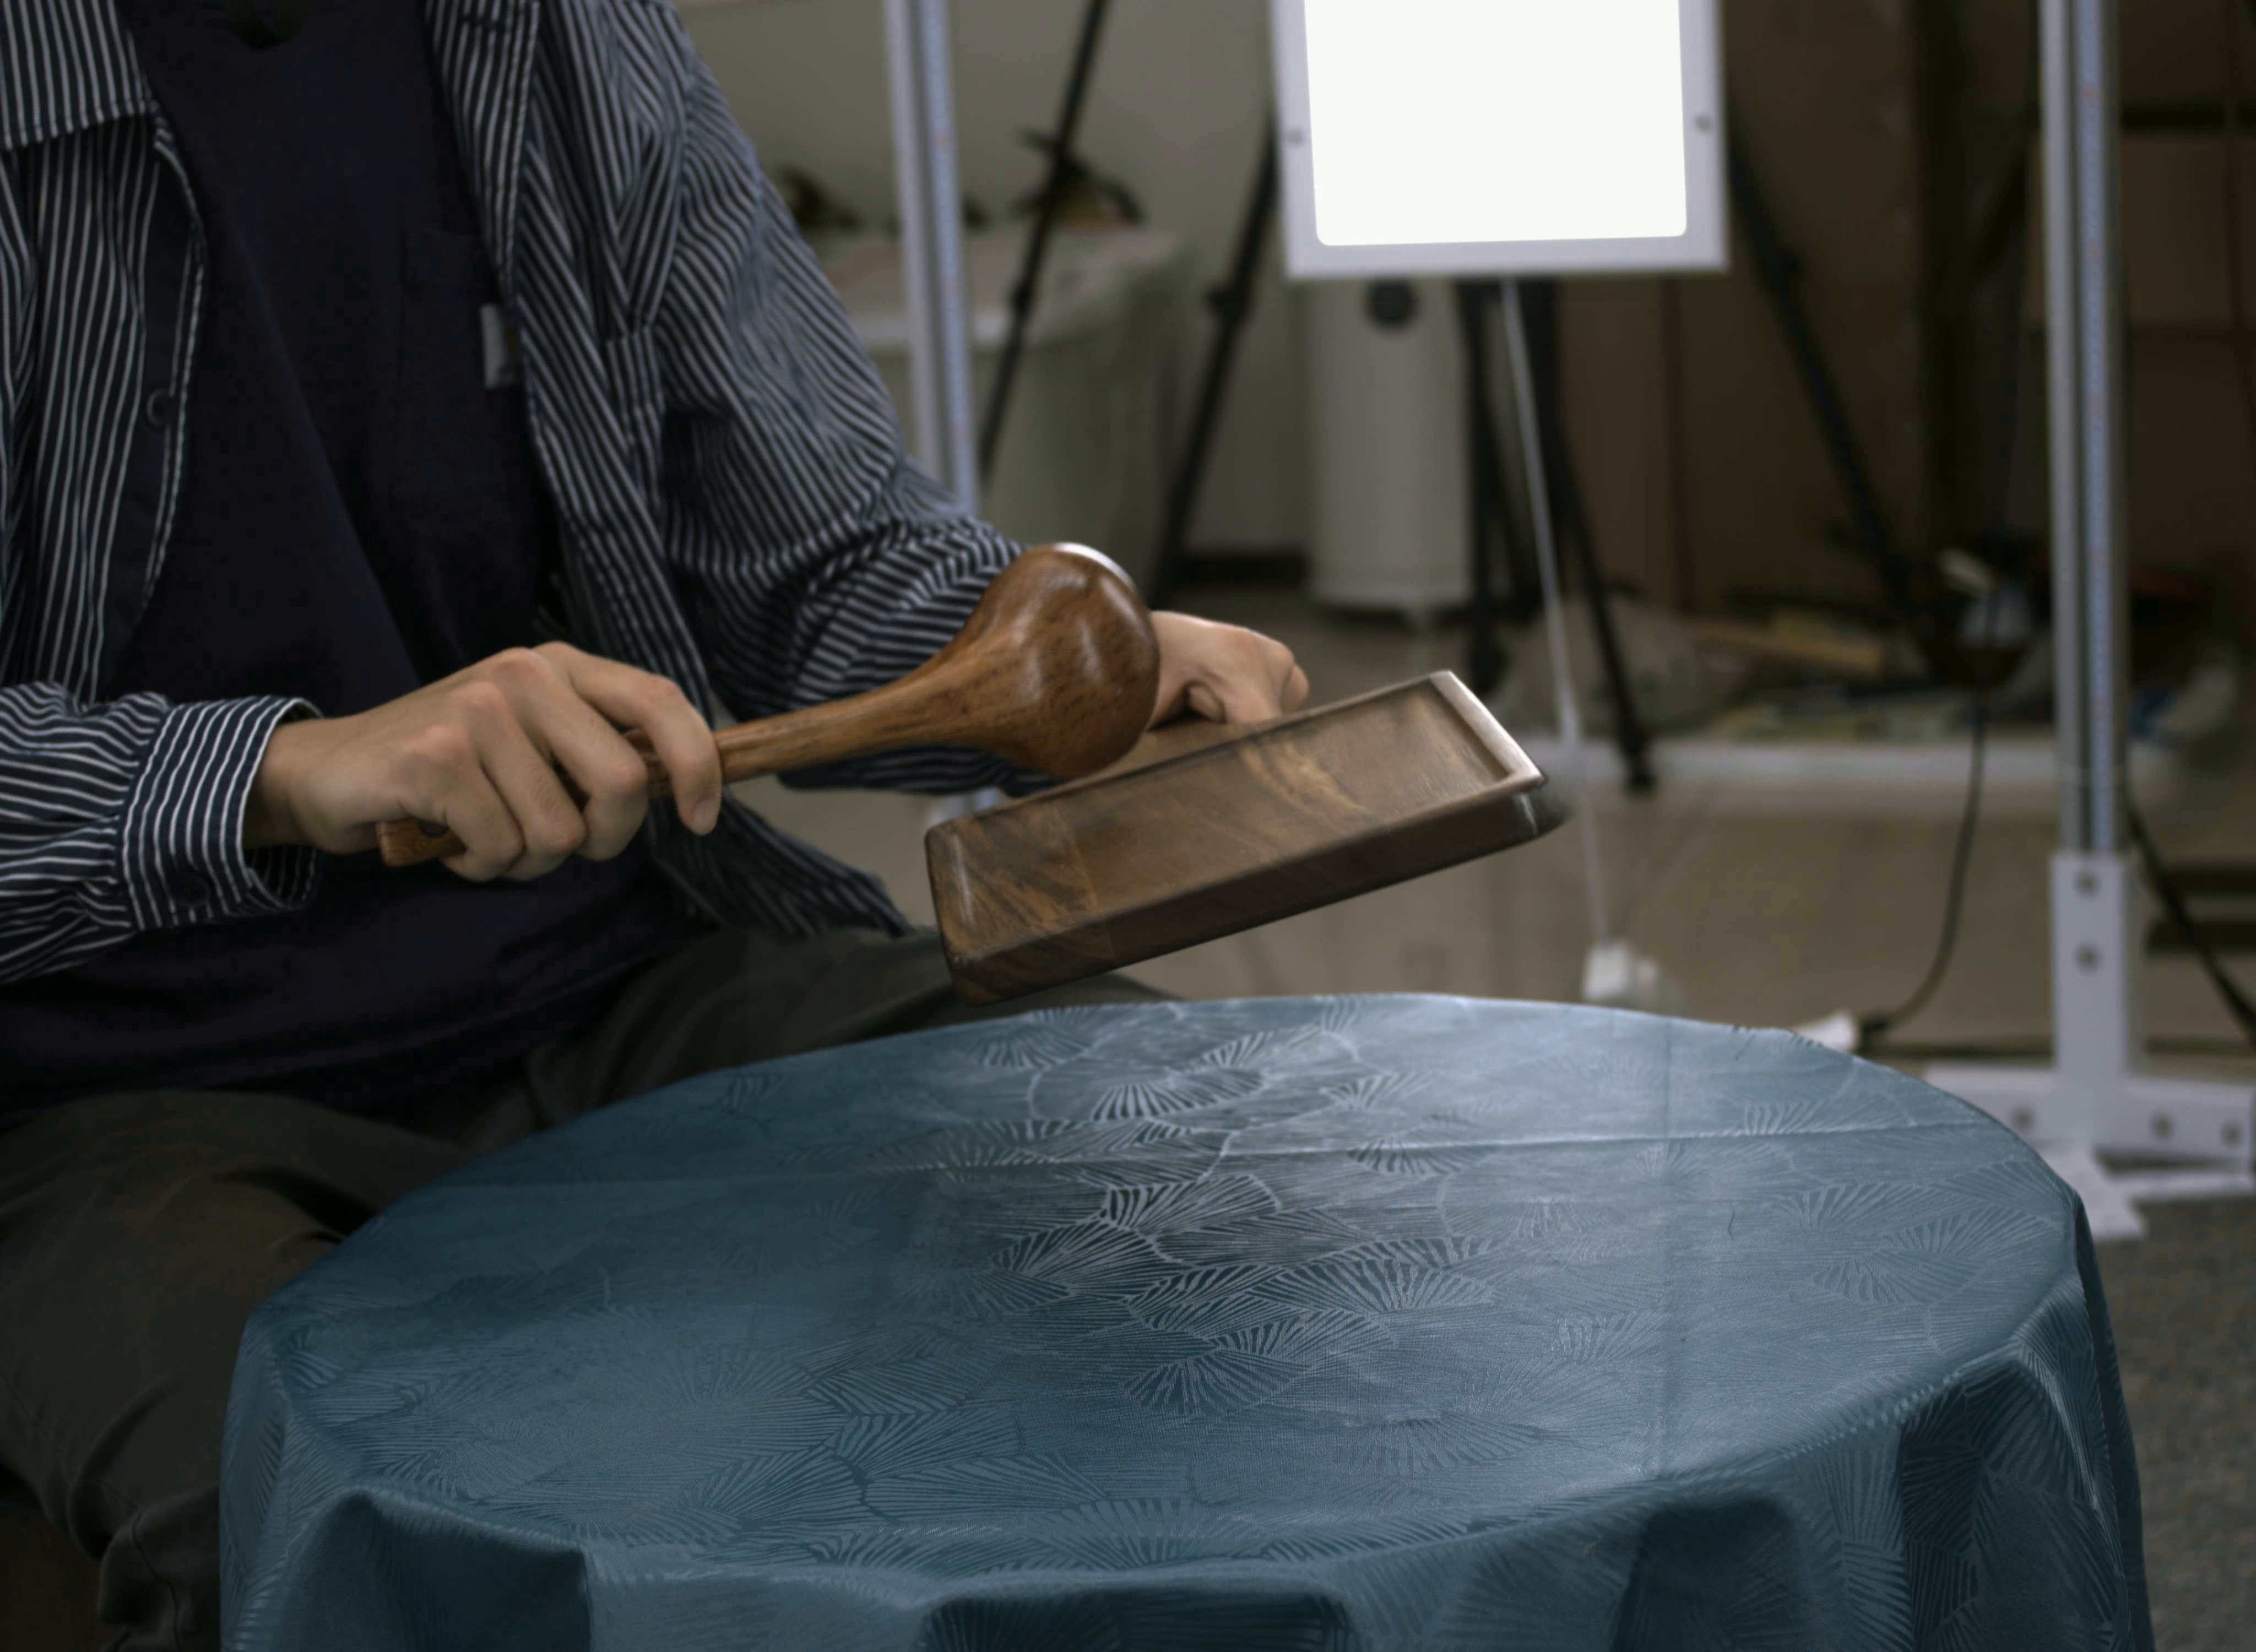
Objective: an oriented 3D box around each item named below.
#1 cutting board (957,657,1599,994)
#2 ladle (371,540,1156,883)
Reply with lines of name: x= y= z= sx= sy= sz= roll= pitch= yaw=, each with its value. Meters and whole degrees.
cutting board: x=0.041 y=-0.012 z=1.867 sx=0.201 sy=0.023 sz=0.352 roll=-17 pitch=10 yaw=1
ladle: x=-0.124 y=-0.032 z=1.893 sx=0.274 sy=0.082 sz=0.076 roll=-15 pitch=3 yaw=4
